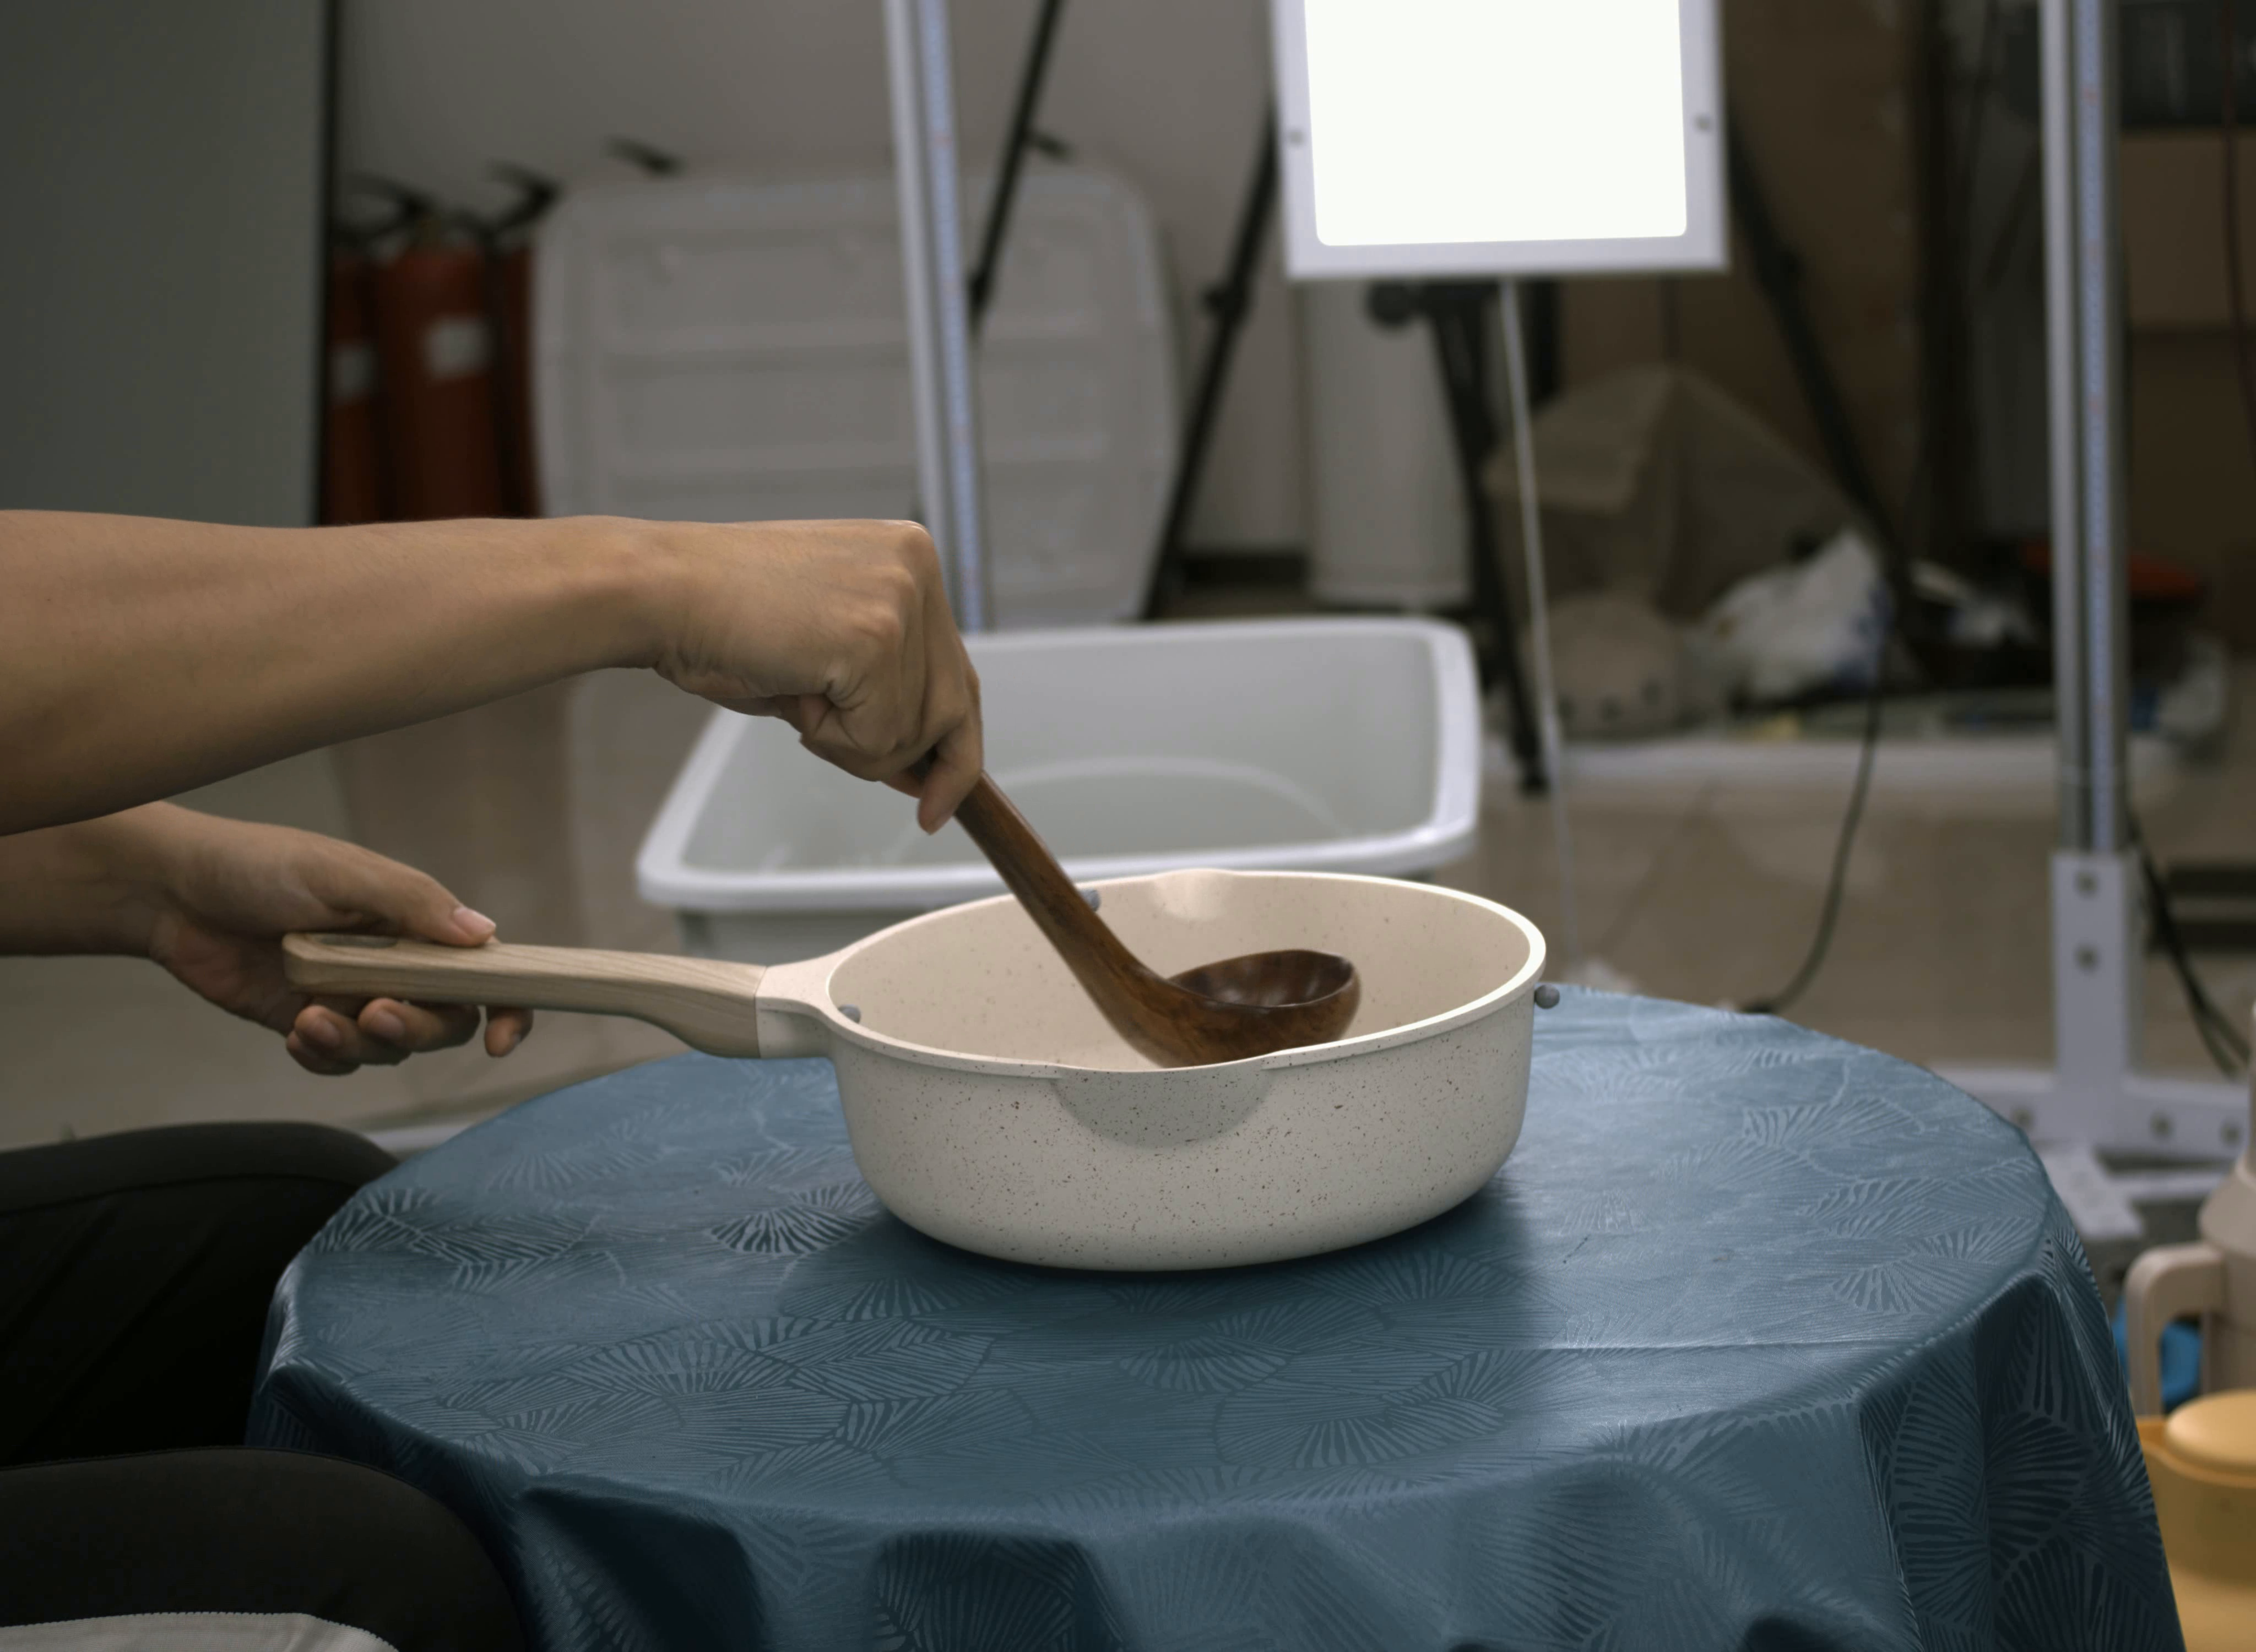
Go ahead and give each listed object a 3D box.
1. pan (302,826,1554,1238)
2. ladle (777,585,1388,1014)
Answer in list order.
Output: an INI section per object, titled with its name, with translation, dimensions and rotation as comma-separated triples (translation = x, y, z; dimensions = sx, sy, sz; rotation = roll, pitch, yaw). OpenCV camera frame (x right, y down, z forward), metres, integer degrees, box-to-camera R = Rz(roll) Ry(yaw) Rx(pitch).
[pan]
translation = -0.067, 0.071, 1.914
dimensions = 0.436, 0.102, 0.262
rotation = -4, 15, 6
[ladle]
translation = -0.011, -0.015, 1.785
dimensions = 0.084, 0.271, 0.076
rotation = -5, 49, 42
